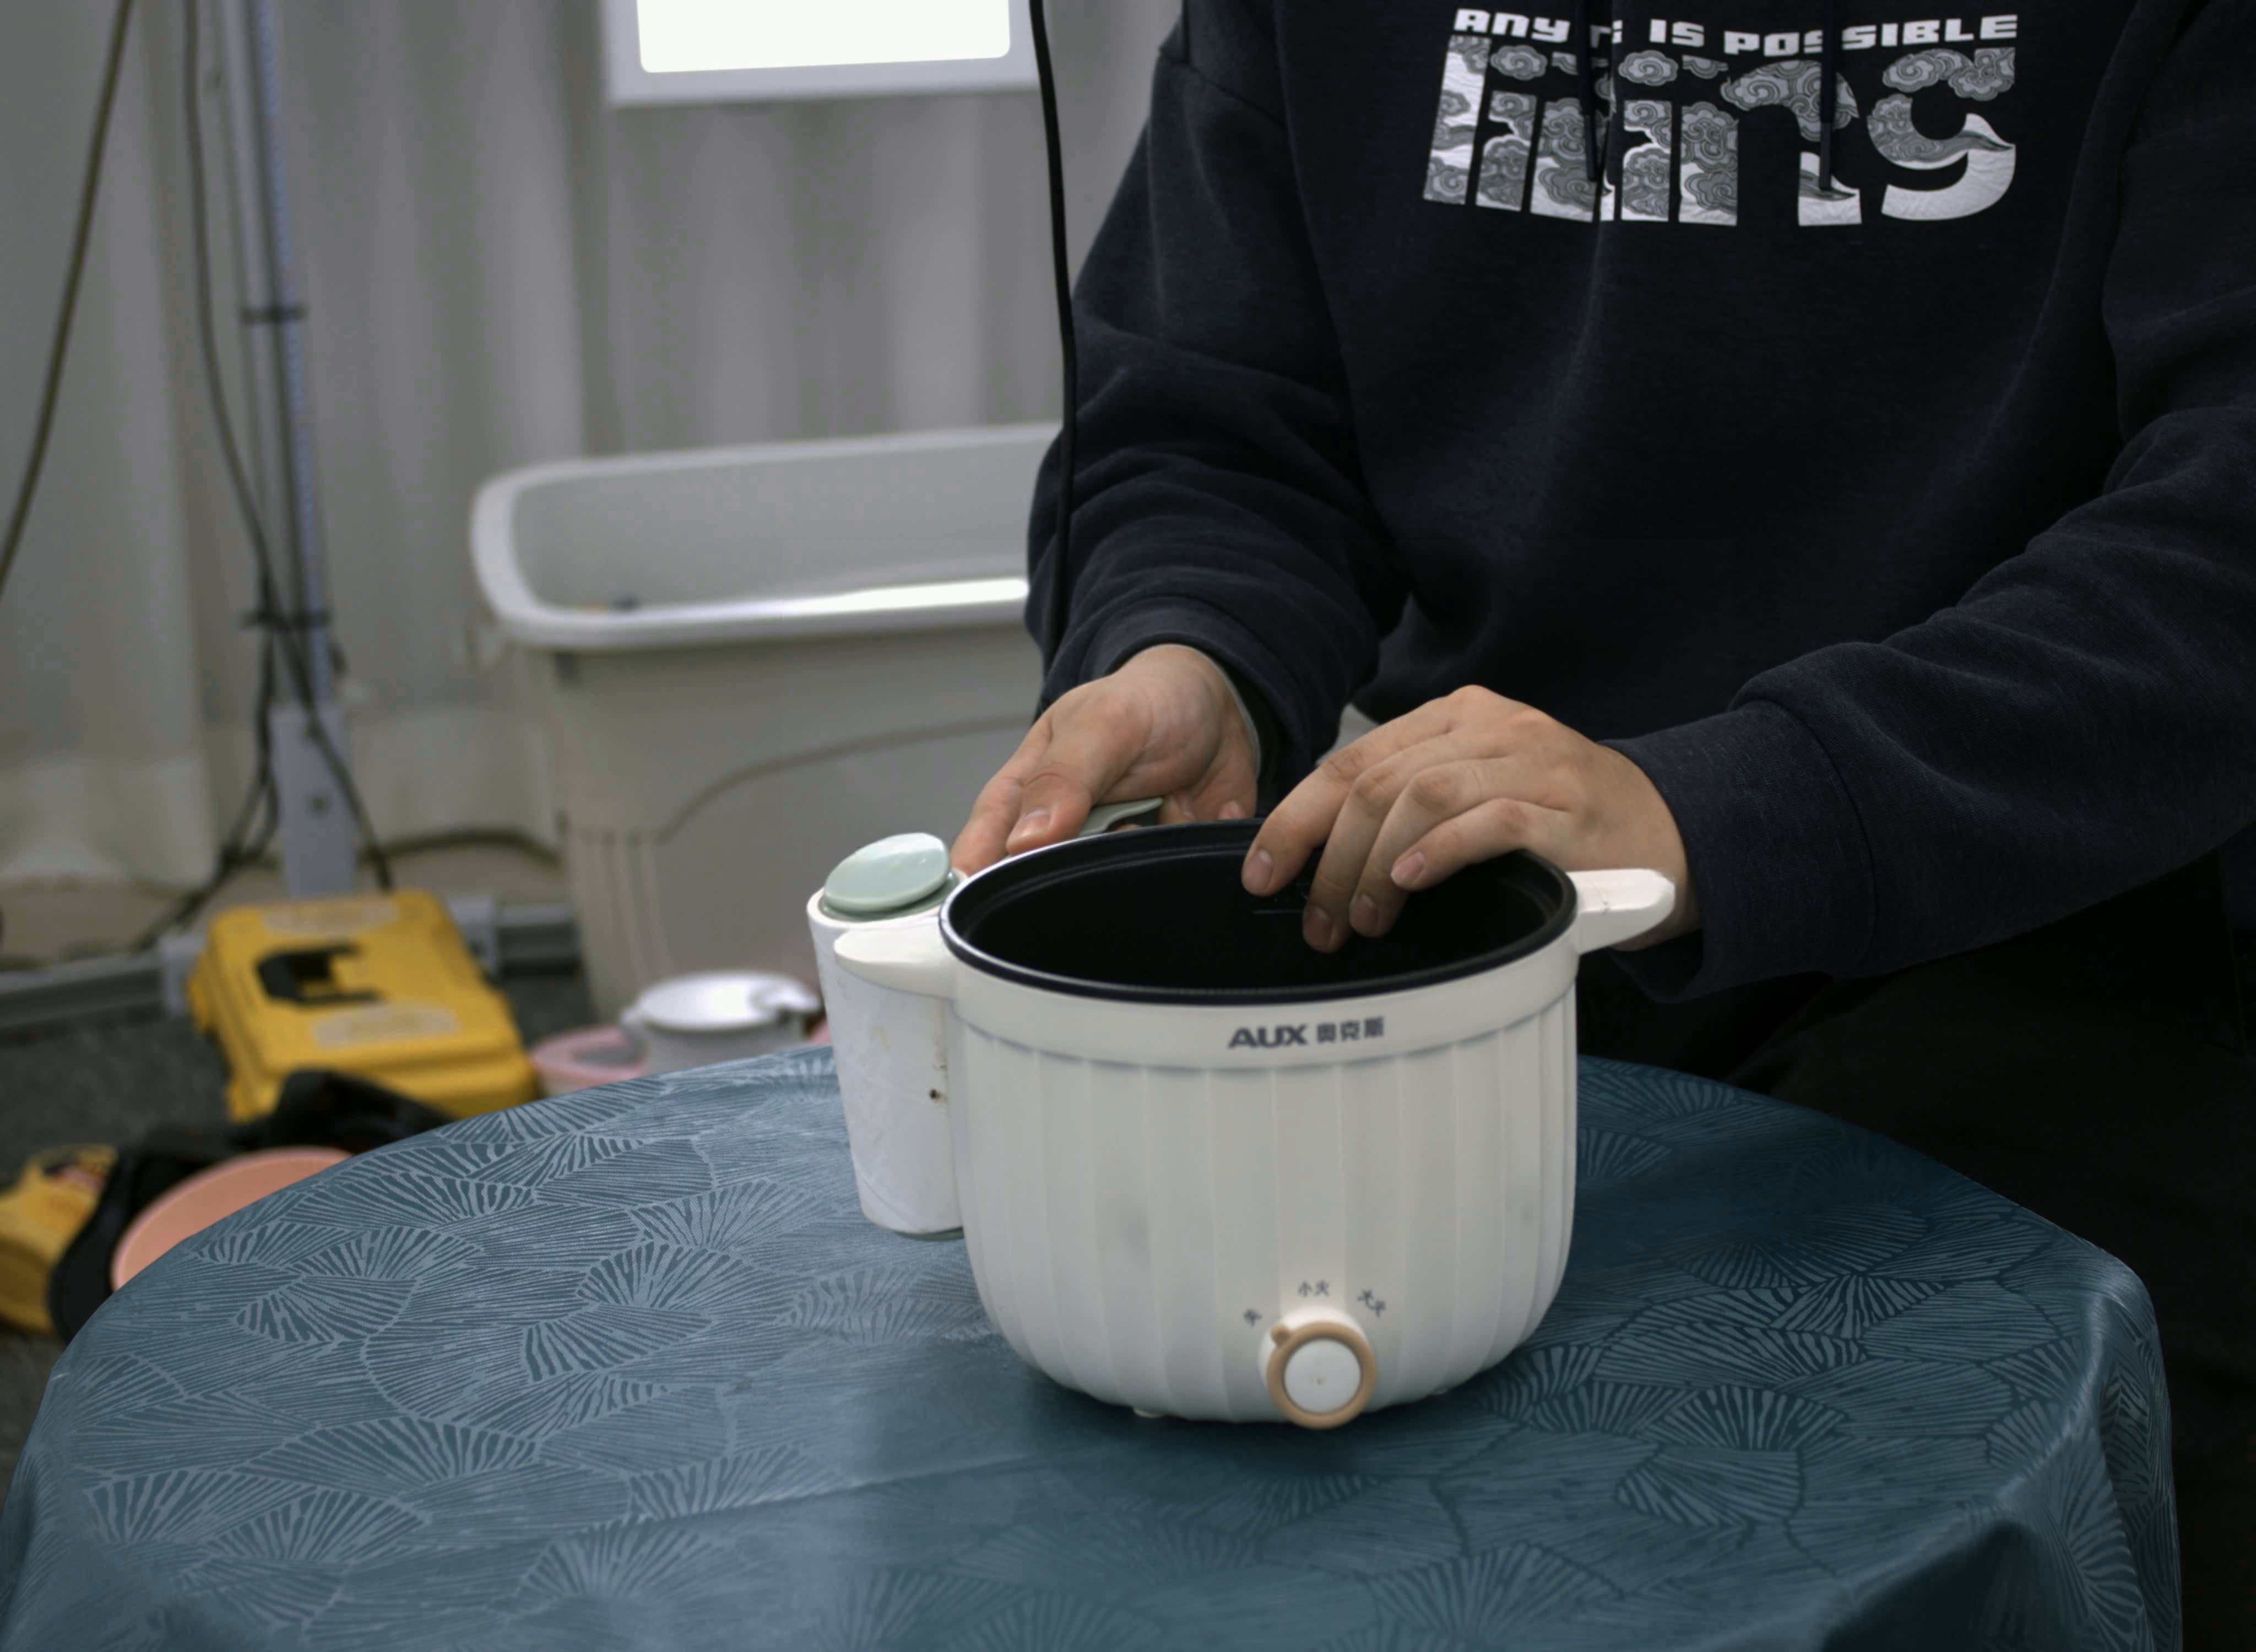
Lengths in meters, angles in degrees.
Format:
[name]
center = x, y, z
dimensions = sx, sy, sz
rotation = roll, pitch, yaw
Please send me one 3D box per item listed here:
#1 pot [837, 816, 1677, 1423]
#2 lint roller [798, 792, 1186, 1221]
[pot]
center = 0.042, 0.086, 1.552
dimensions = 0.239, 0.142, 0.191
rotation = -5, 11, -6
[lint roller]
center = -0.037, 0.030, 1.661
dimensions = 0.048, 0.116, 0.199
rotation = -4, 21, 24
